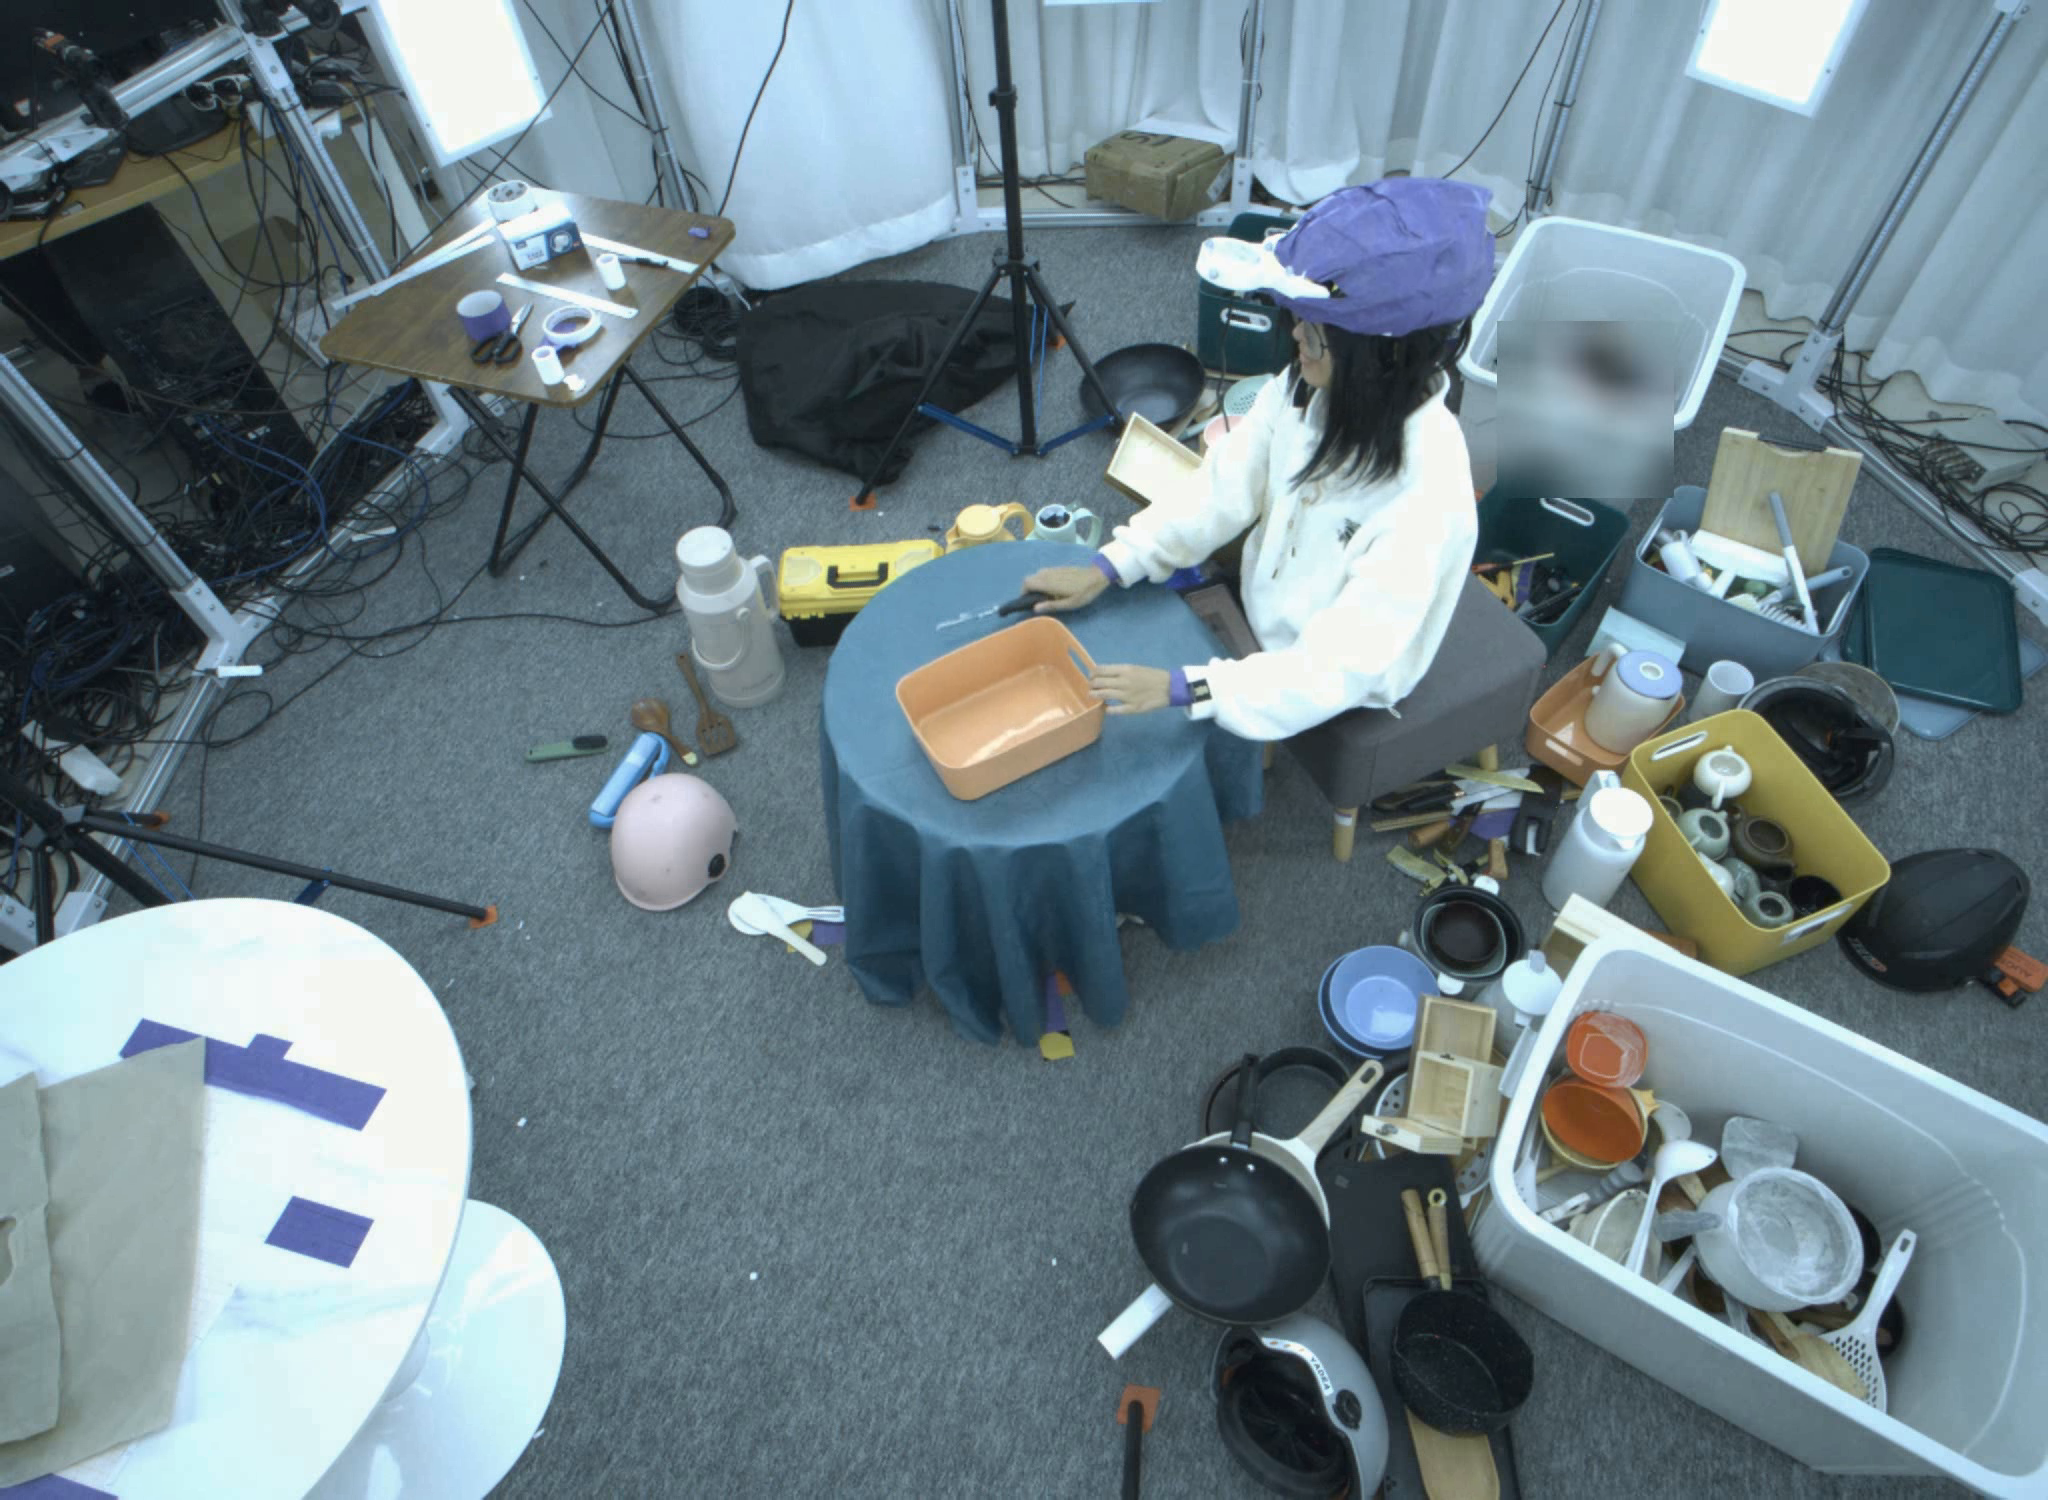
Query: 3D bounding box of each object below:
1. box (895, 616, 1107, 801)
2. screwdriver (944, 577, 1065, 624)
[{"bbox_3d":[-0.029,-0.055,1.763,0.275,0.104,0.195,-26,57,-15],"label":"box"},{"bbox_3d":[-0.029,-0.225,1.895,0.199,0.032,0.031,-22,57,-10],"label":"screwdriver"}]
